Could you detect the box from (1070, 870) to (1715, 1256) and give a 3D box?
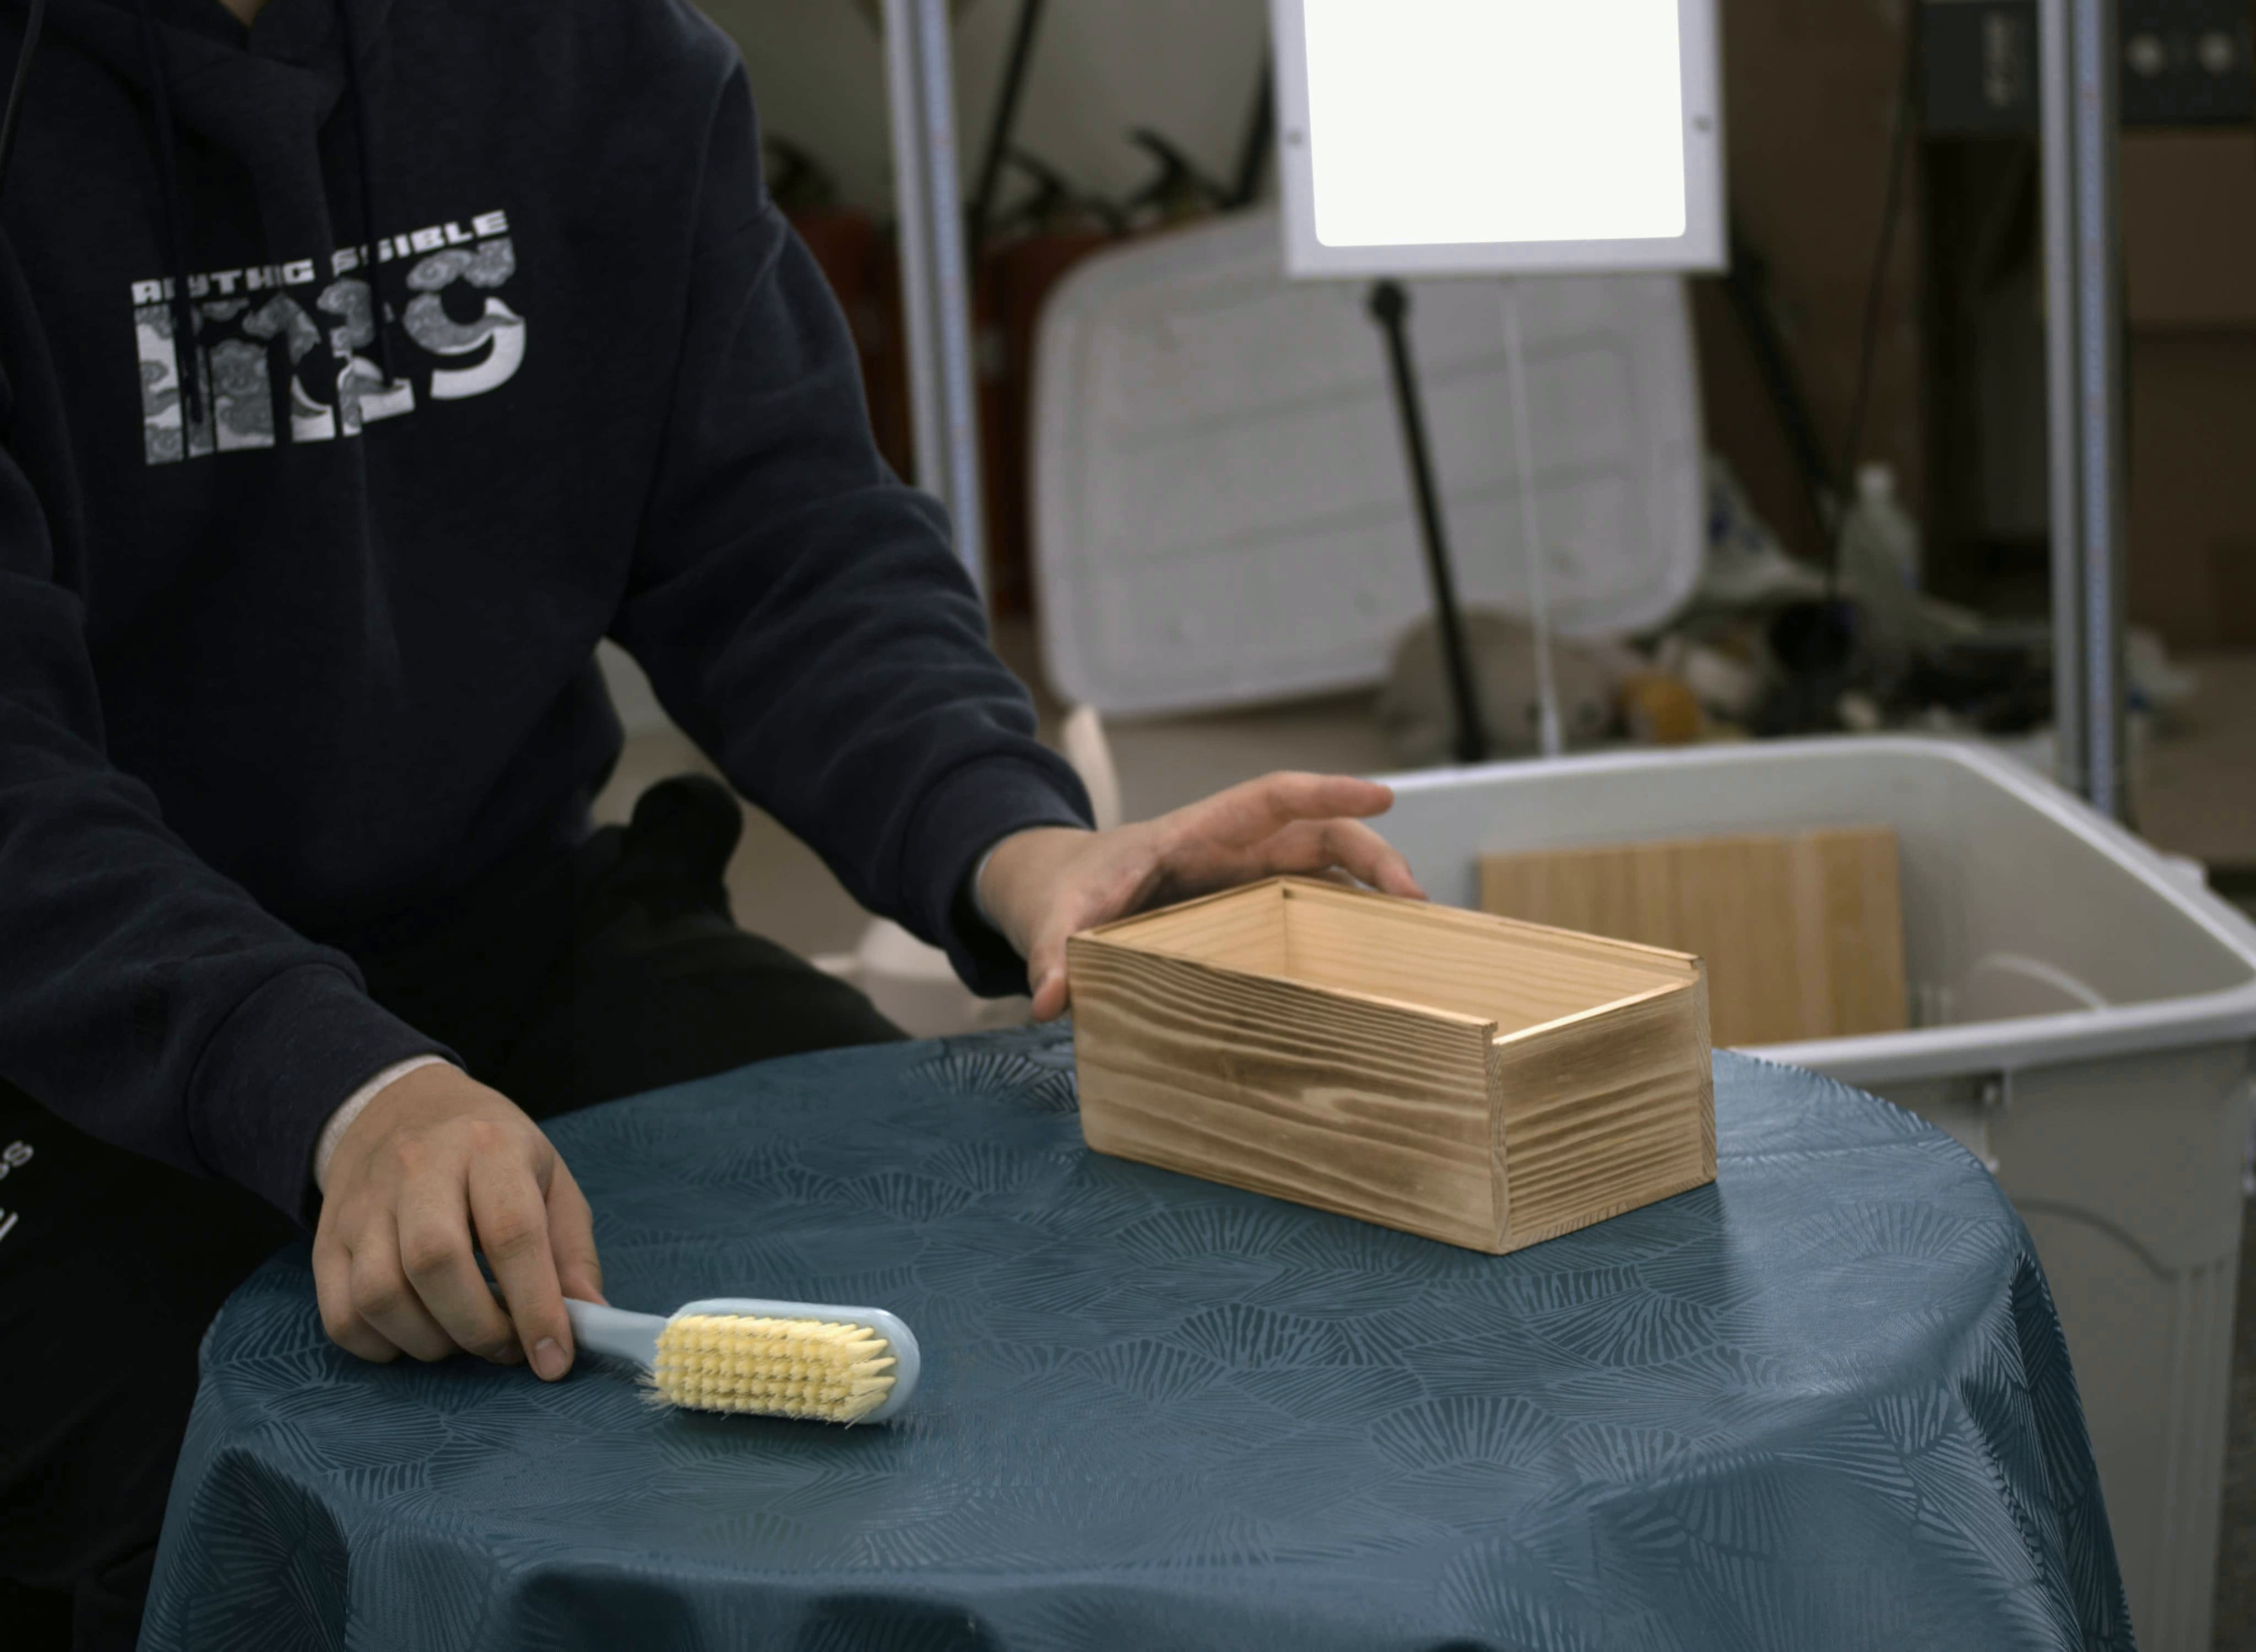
[{"bbox_3d":[0.089,0.078,1.895,0.105,0.080,0.216,-15,17,-38],"label":"box"}]

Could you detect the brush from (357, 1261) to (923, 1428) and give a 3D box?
[{"bbox_3d":[-0.164,0.160,1.739,0.233,0.038,0.048,6,12,39],"label":"brush"}]
